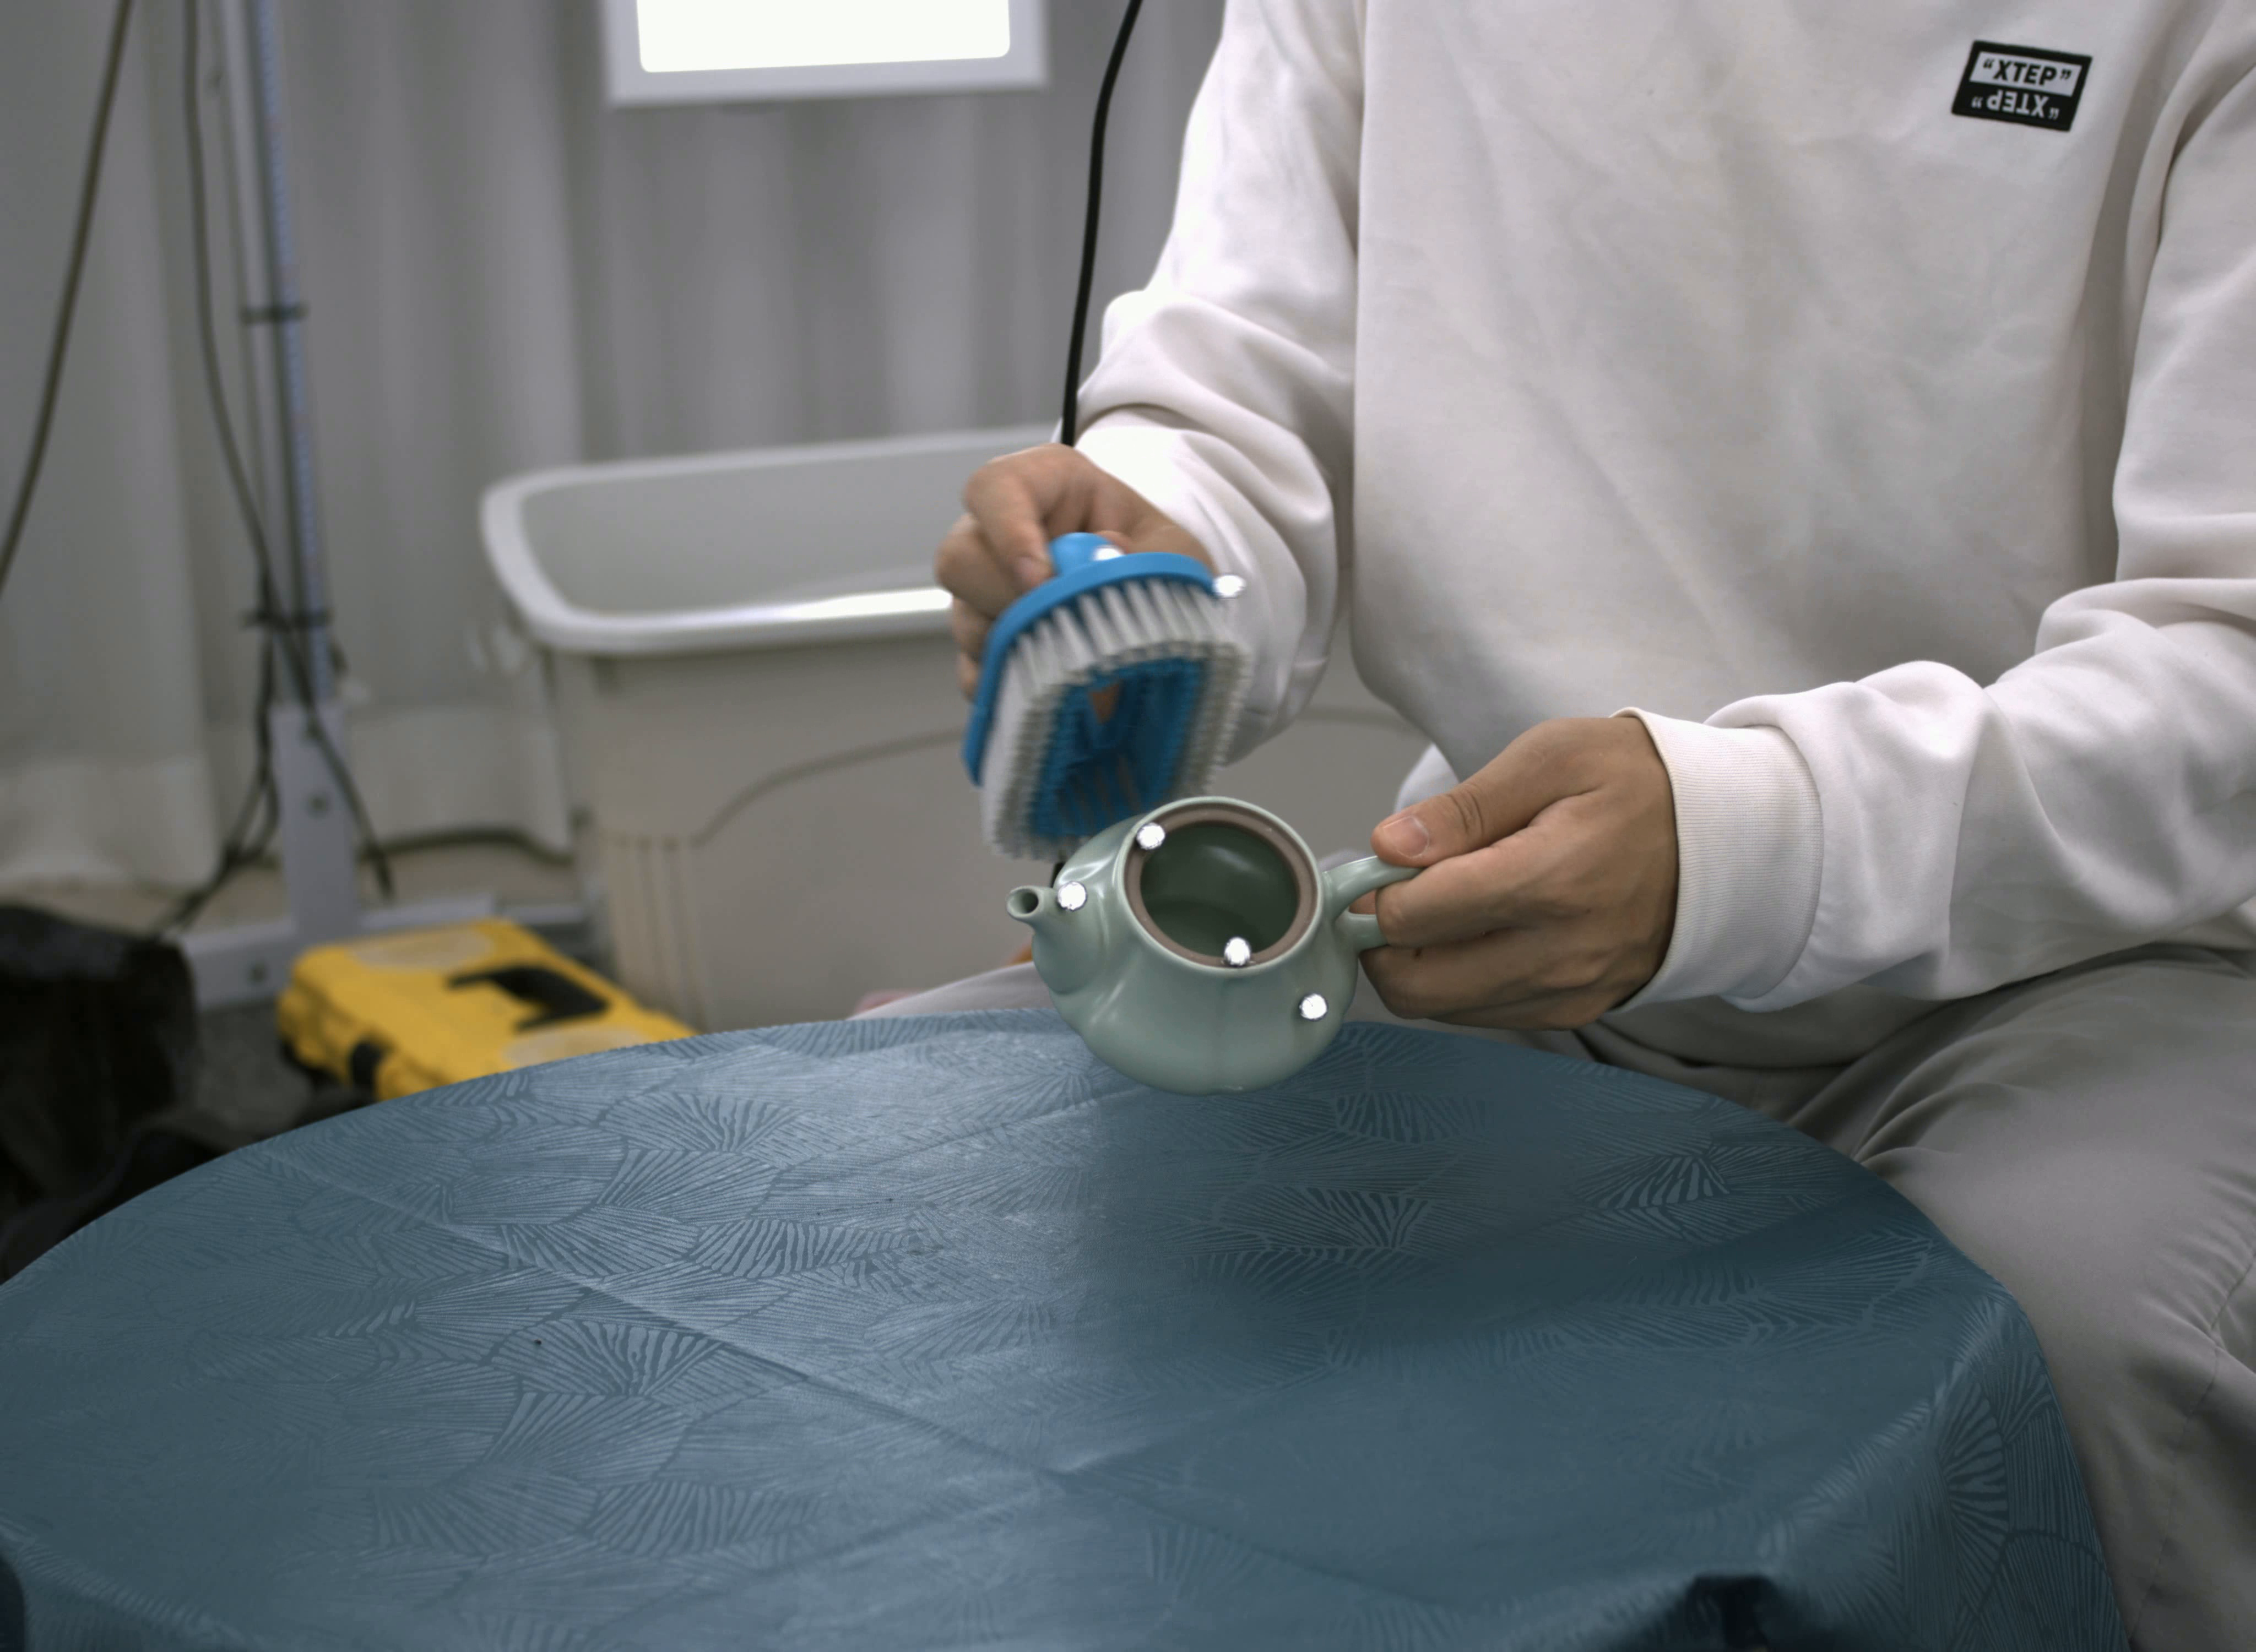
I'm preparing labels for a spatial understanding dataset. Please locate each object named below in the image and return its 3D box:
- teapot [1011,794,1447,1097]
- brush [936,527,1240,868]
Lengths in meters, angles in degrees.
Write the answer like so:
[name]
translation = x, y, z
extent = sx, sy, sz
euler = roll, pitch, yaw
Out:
[teapot]
translation = 0.028, 0.030, 1.626
extent = 0.136, 0.060, 0.097
euler = -8, 57, -13
[brush]
translation = -0.019, -0.048, 1.687
extent = 0.084, 0.064, 0.140
euler = -17, -26, -17
